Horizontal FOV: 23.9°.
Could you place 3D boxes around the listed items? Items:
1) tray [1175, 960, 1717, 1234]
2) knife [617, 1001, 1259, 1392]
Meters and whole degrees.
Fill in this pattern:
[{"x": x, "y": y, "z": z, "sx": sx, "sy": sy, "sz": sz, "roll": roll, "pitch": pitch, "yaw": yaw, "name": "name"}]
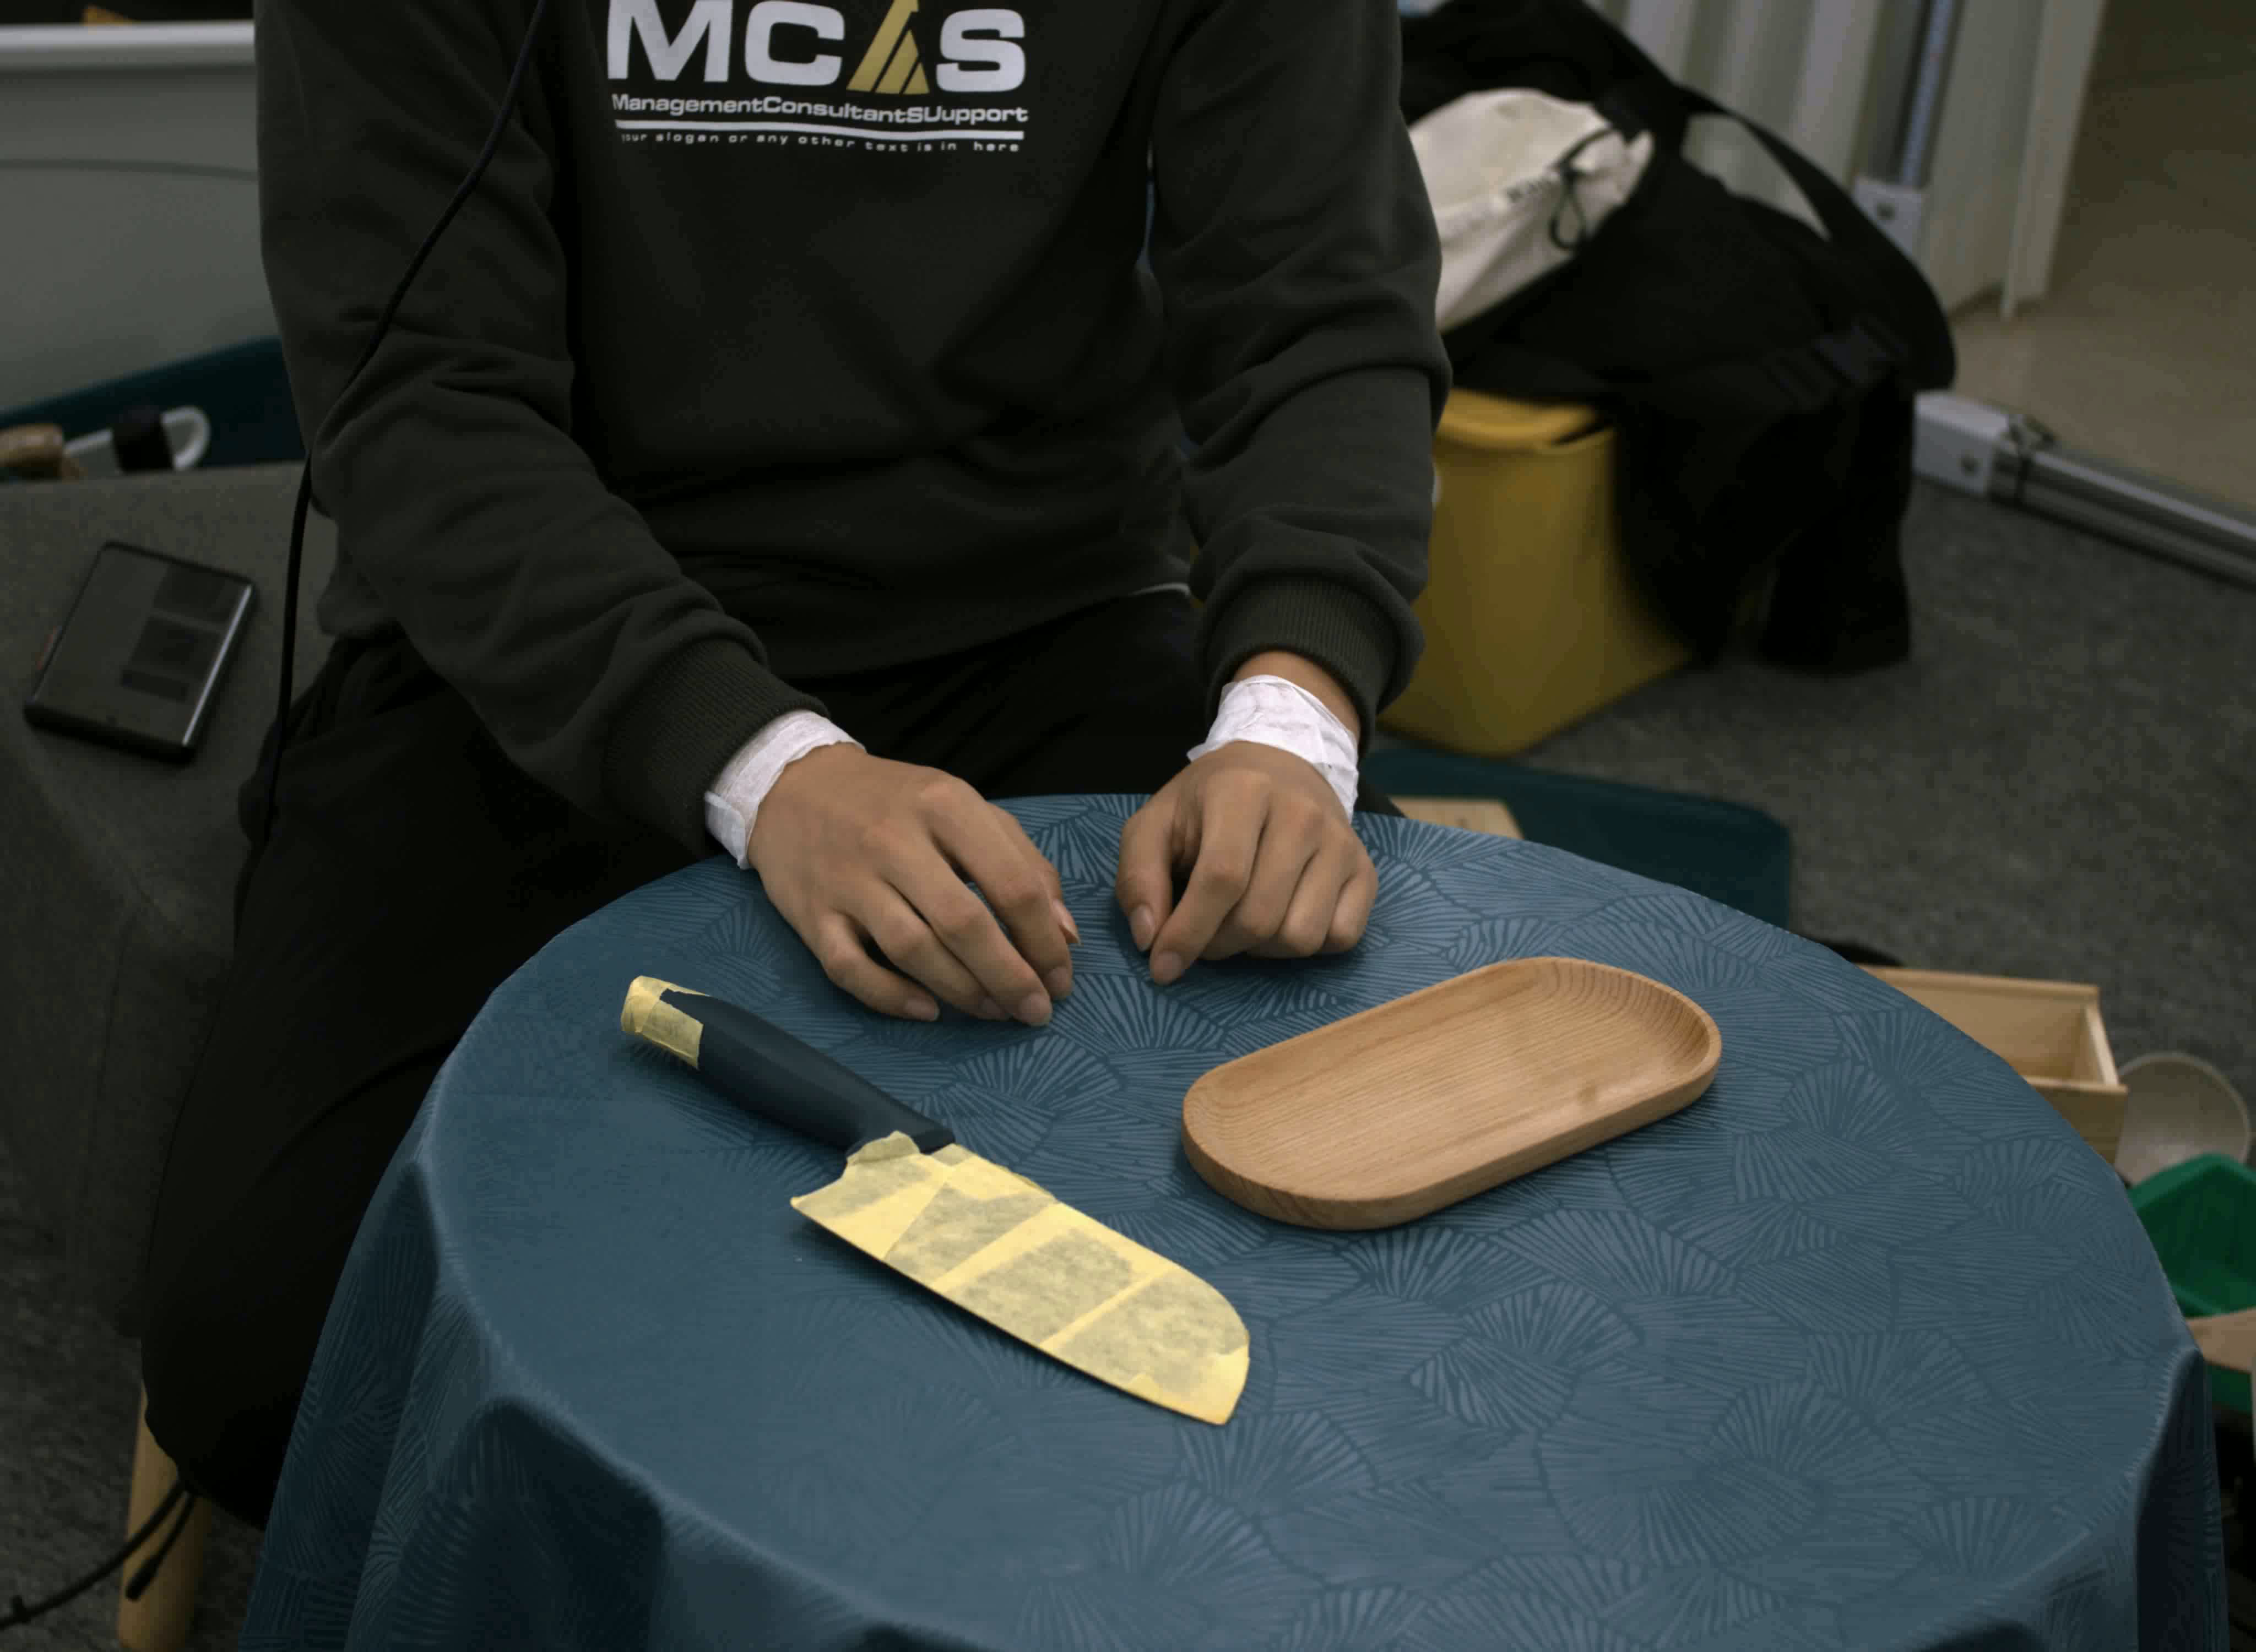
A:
[{"x": 0.113, "y": 0.094, "z": 1.871, "sx": 0.230, "sy": 0.020, "sz": 0.102, "roll": -19, "pitch": 35, "yaw": -39, "name": "tray"}, {"x": -0.071, "y": 0.125, "z": 1.772, "sx": 0.291, "sy": 0.027, "sz": 0.080, "roll": 26, "pitch": 31, "yaw": 33, "name": "knife"}]
